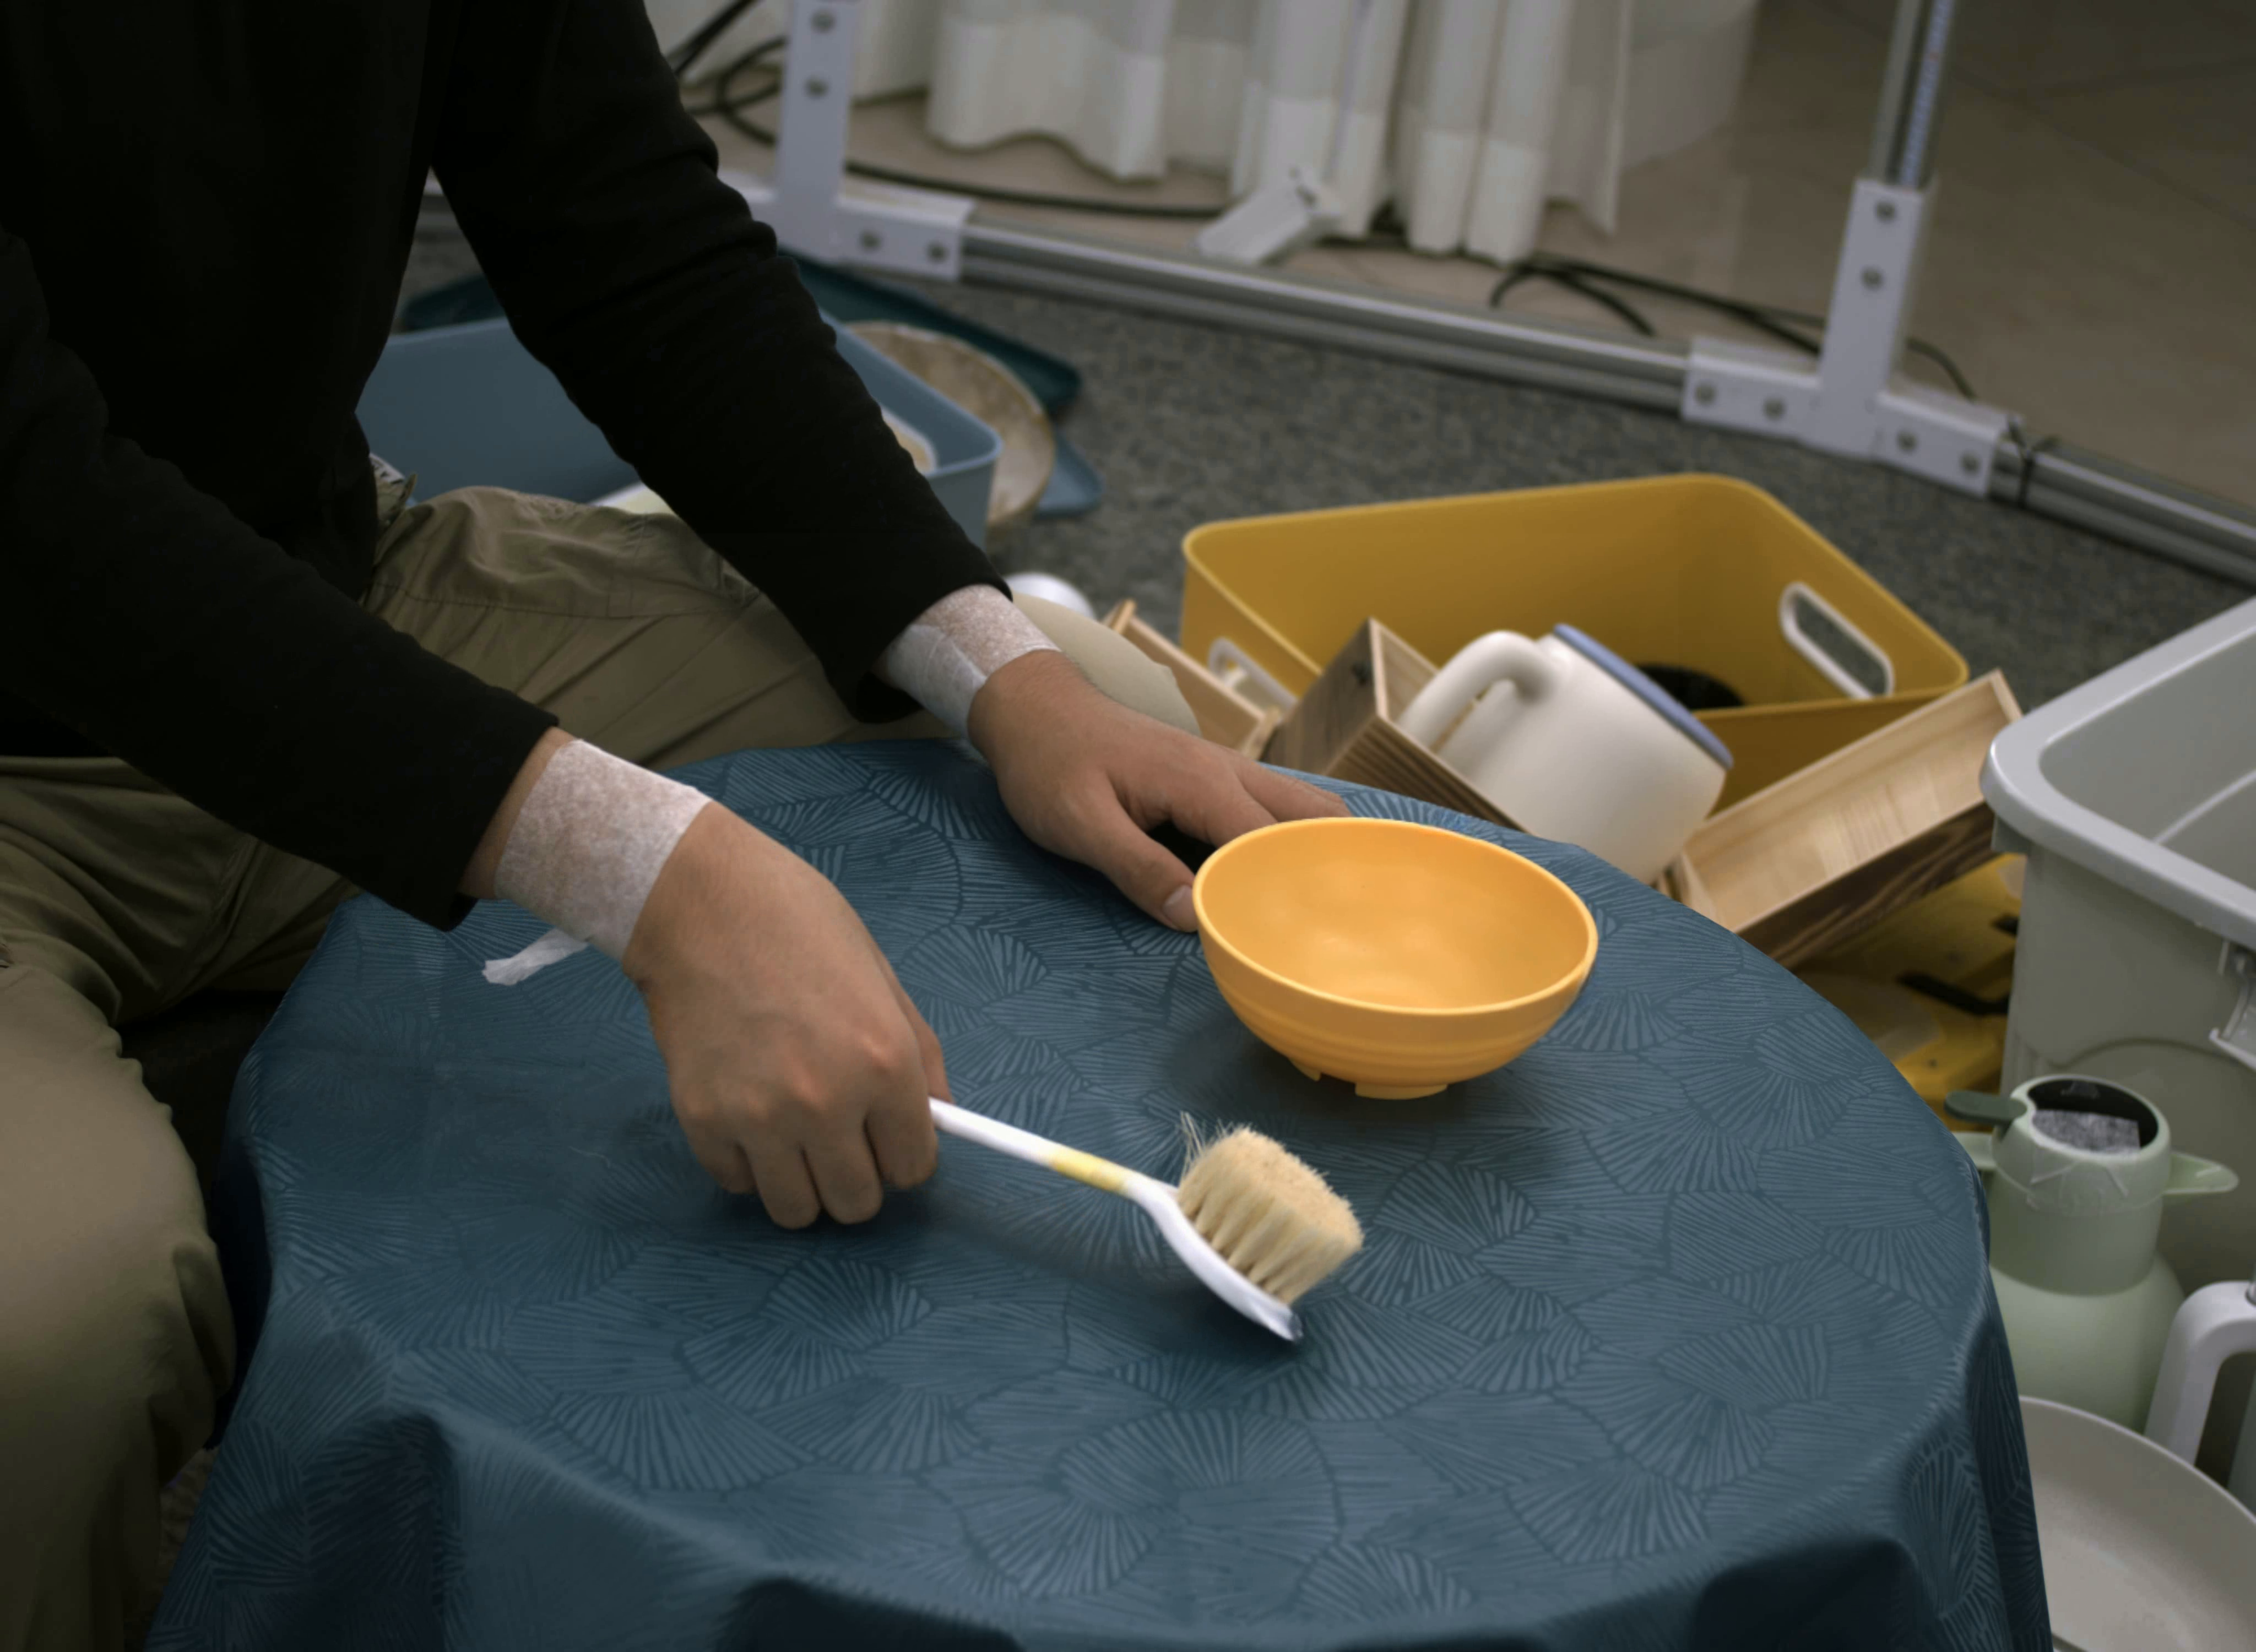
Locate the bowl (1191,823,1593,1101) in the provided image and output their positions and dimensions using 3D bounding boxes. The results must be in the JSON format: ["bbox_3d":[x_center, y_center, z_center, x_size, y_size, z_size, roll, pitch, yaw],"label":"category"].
[{"bbox_3d":[0.090,0.056,1.890,0.145,0.060,0.146,6,25,-3],"label":"bowl"}]

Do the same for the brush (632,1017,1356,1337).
[{"bbox_3d":[-0.045,0.094,1.760,0.268,0.056,0.068,23,-3,24],"label":"brush"}]
